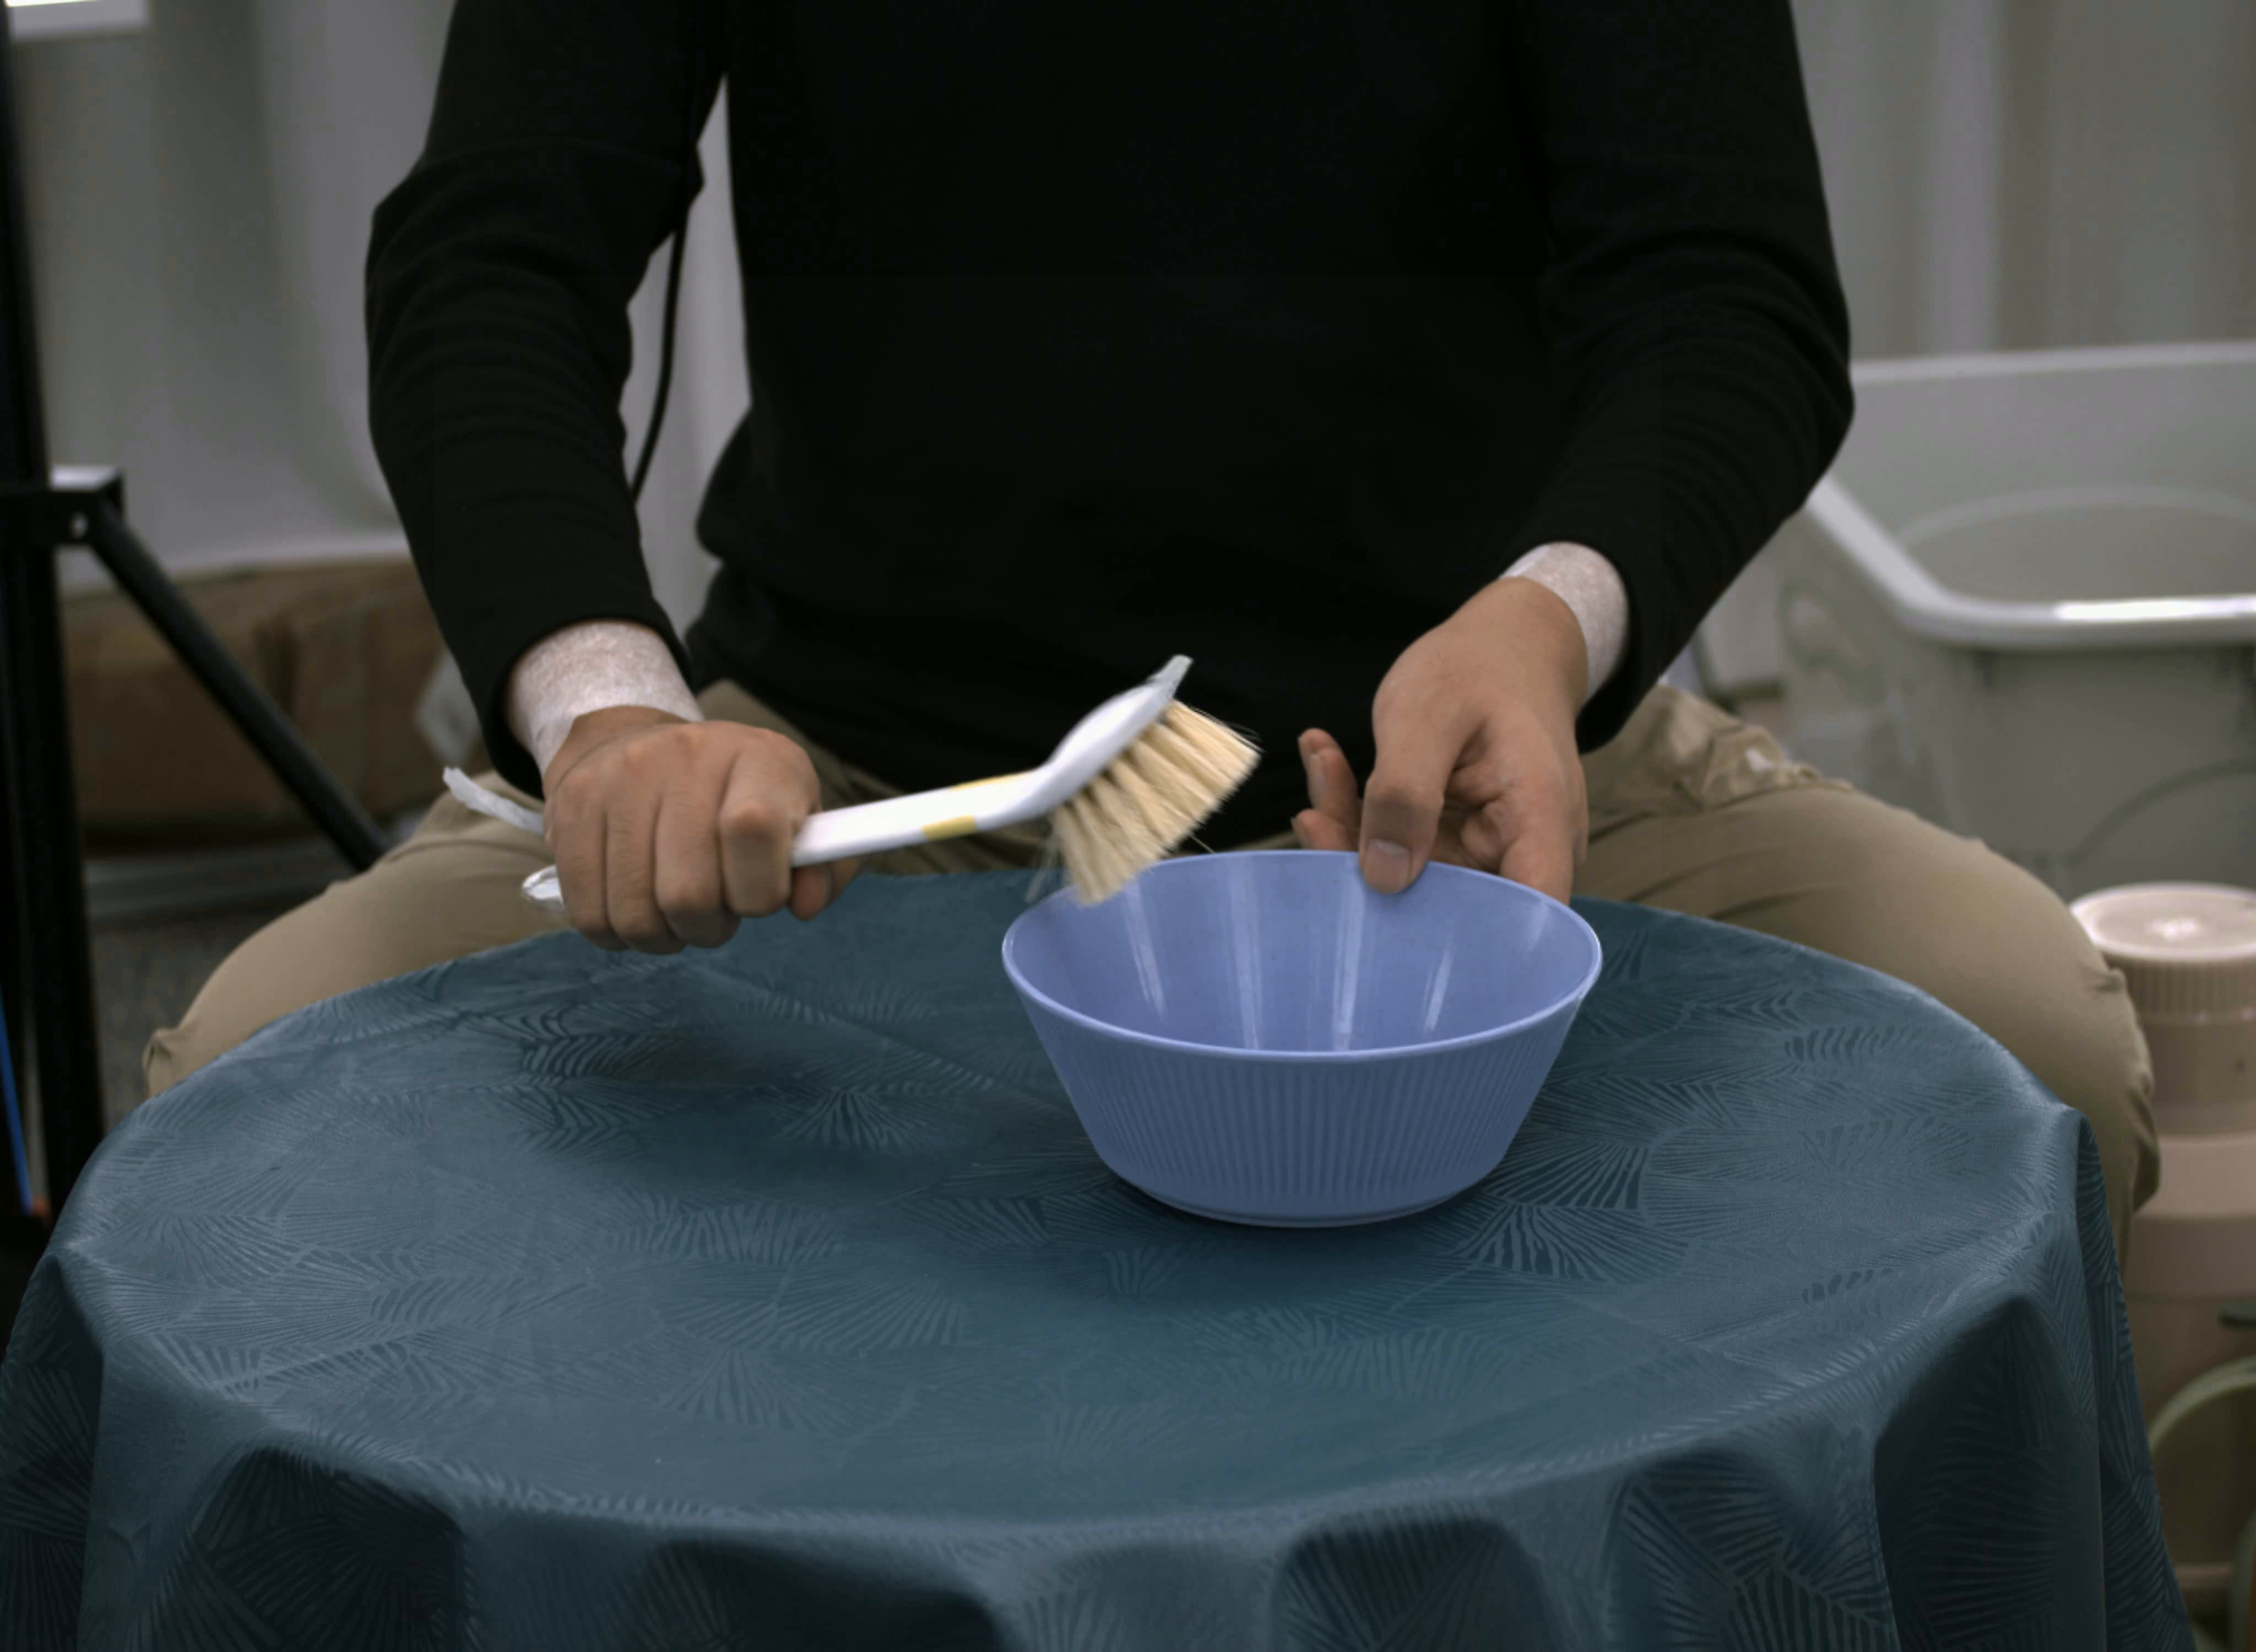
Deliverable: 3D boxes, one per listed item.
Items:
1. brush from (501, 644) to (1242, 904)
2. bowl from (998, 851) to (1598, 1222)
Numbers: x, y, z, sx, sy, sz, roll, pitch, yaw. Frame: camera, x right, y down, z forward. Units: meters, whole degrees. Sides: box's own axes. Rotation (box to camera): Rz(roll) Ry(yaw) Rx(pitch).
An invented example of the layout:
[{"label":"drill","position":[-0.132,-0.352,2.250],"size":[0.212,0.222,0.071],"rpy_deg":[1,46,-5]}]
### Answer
[{"label":"brush","position":[-0.079,0.007,1.618],"size":[0.271,0.056,0.067],"rpy_deg":[-17,12,35]},{"label":"bowl","position":[0.049,0.065,1.558],"size":[0.175,0.070,0.177],"rpy_deg":[0,18,-2]}]
